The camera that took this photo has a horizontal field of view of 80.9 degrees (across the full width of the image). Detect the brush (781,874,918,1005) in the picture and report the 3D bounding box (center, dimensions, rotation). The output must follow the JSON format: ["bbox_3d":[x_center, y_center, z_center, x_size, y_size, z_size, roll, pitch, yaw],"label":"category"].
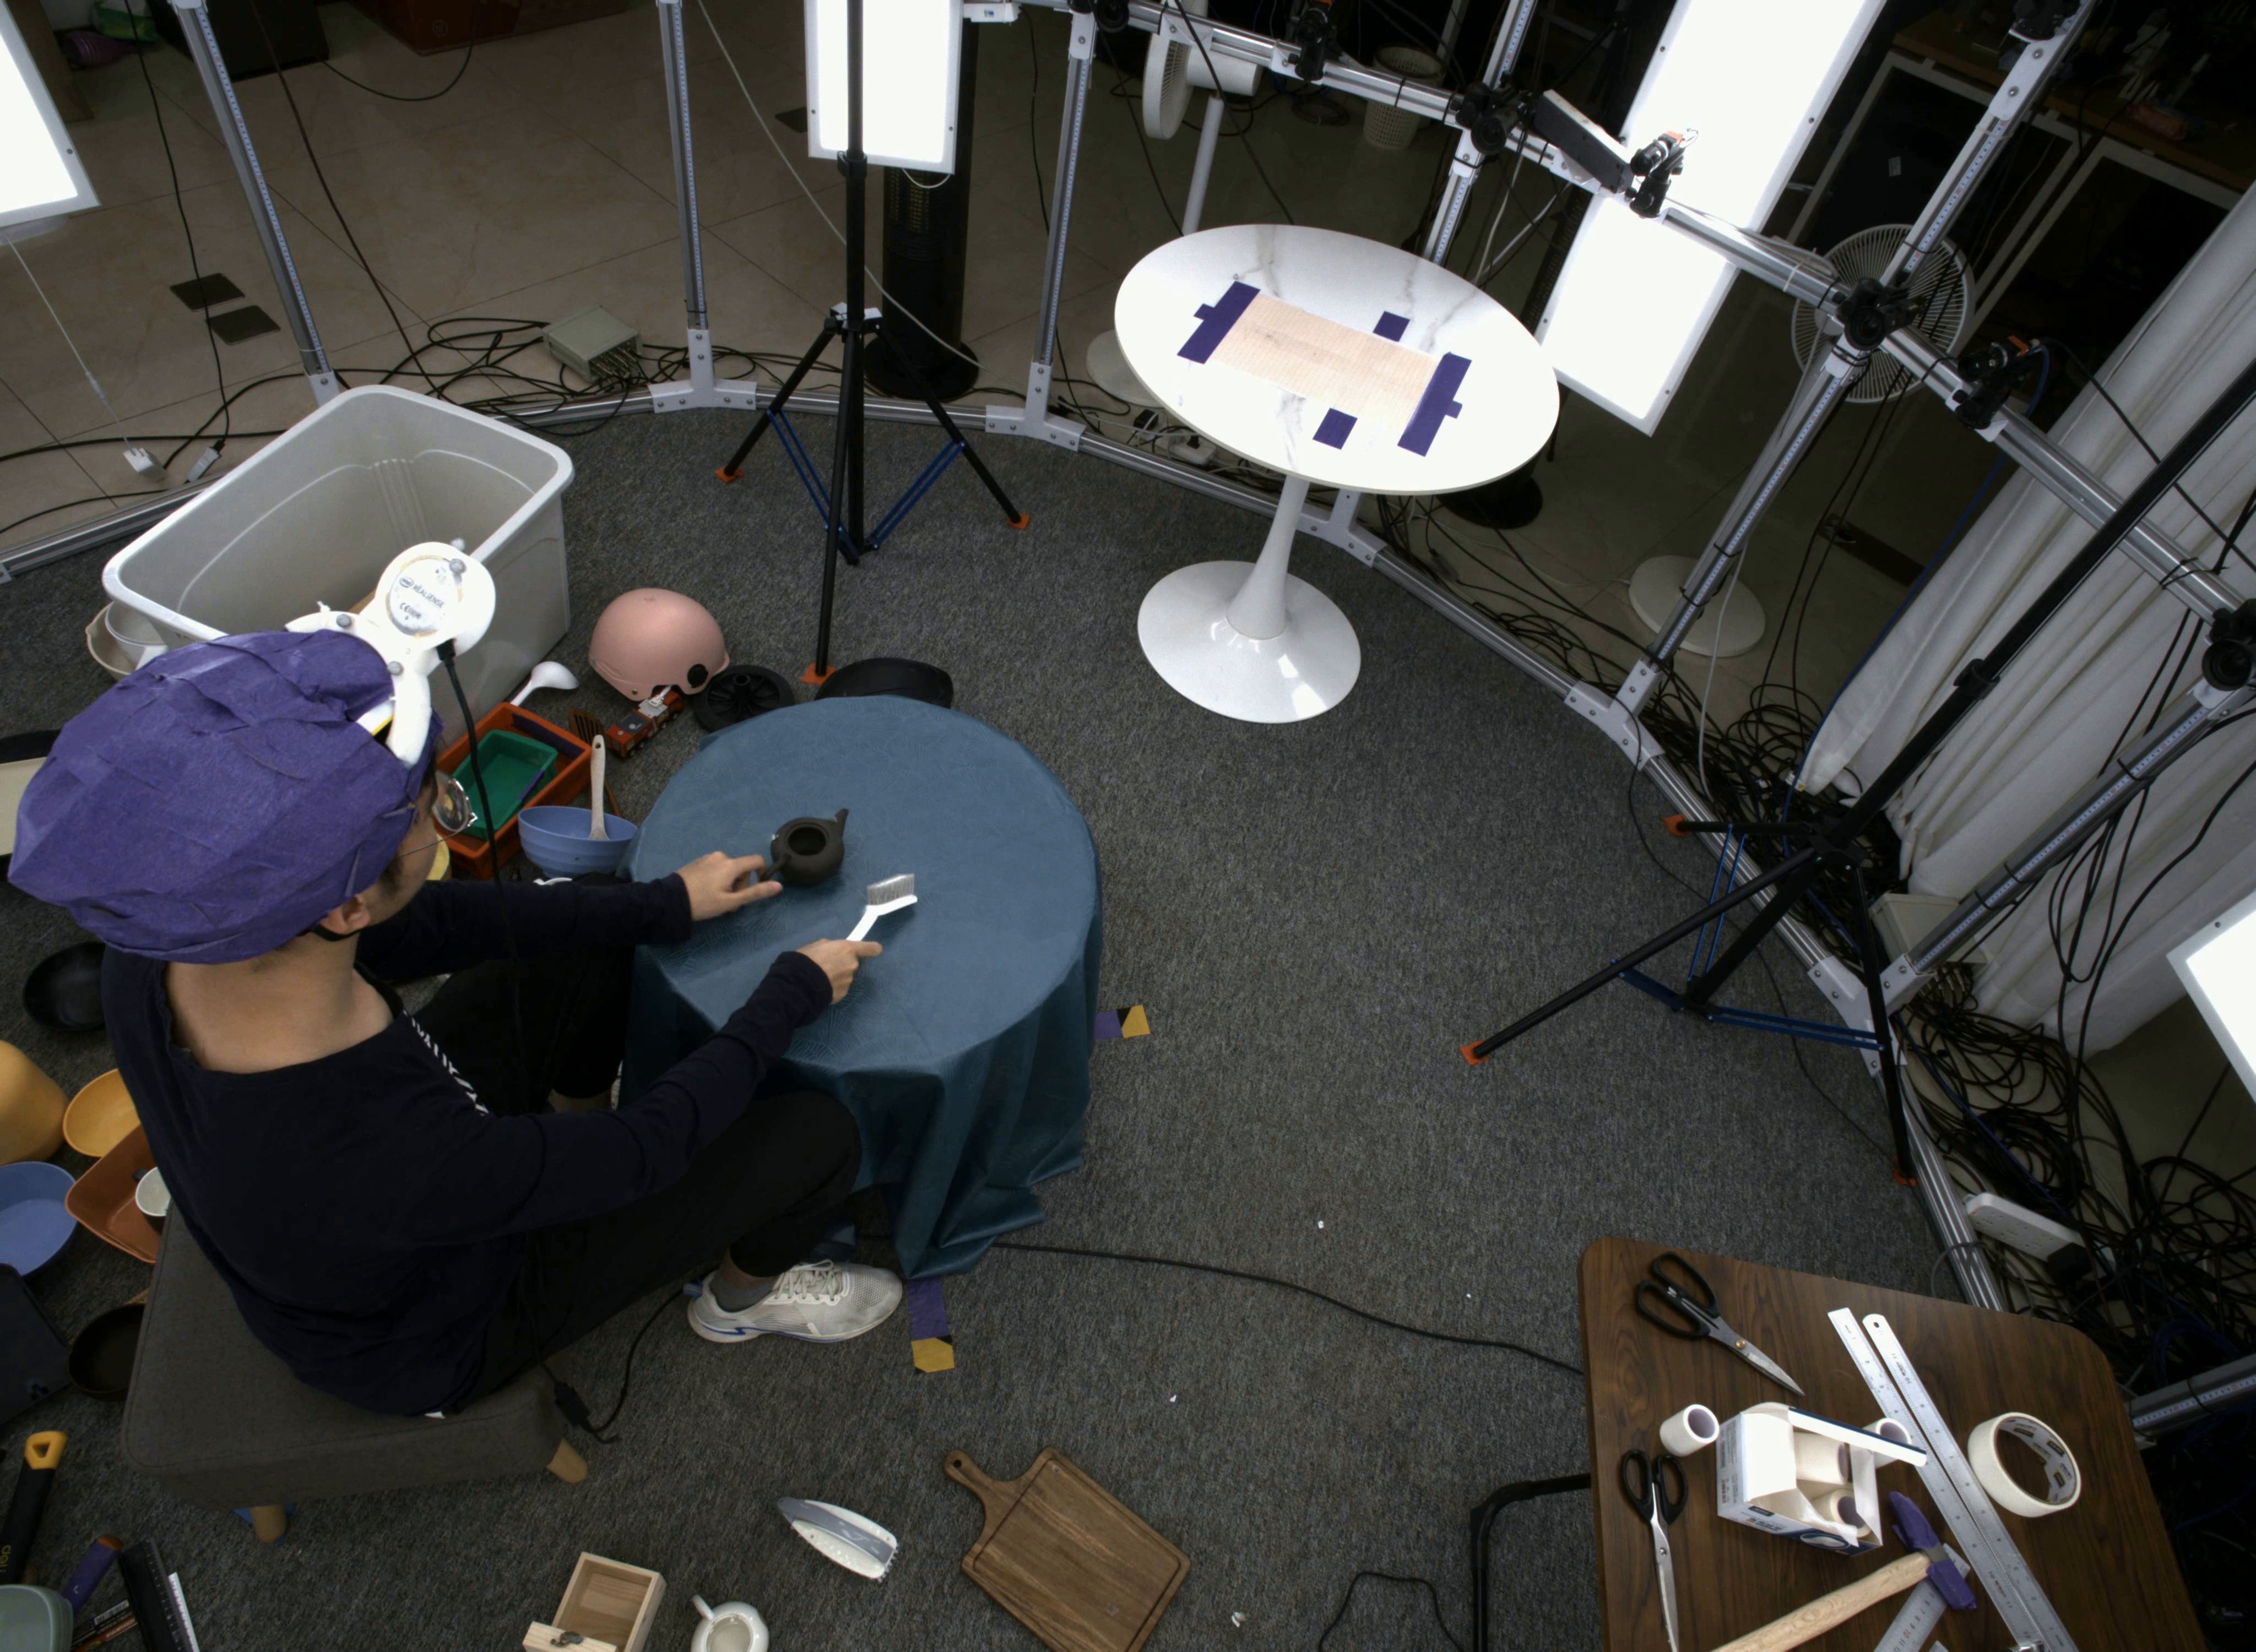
[{"bbox_3d":[-0.344,0.129,1.594,0.033,0.052,0.243,9,35,34],"label":"brush"}]

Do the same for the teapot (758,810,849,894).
[{"bbox_3d":[-0.414,0.035,1.663,0.090,0.066,0.154,36,55,14],"label":"teapot"}]
